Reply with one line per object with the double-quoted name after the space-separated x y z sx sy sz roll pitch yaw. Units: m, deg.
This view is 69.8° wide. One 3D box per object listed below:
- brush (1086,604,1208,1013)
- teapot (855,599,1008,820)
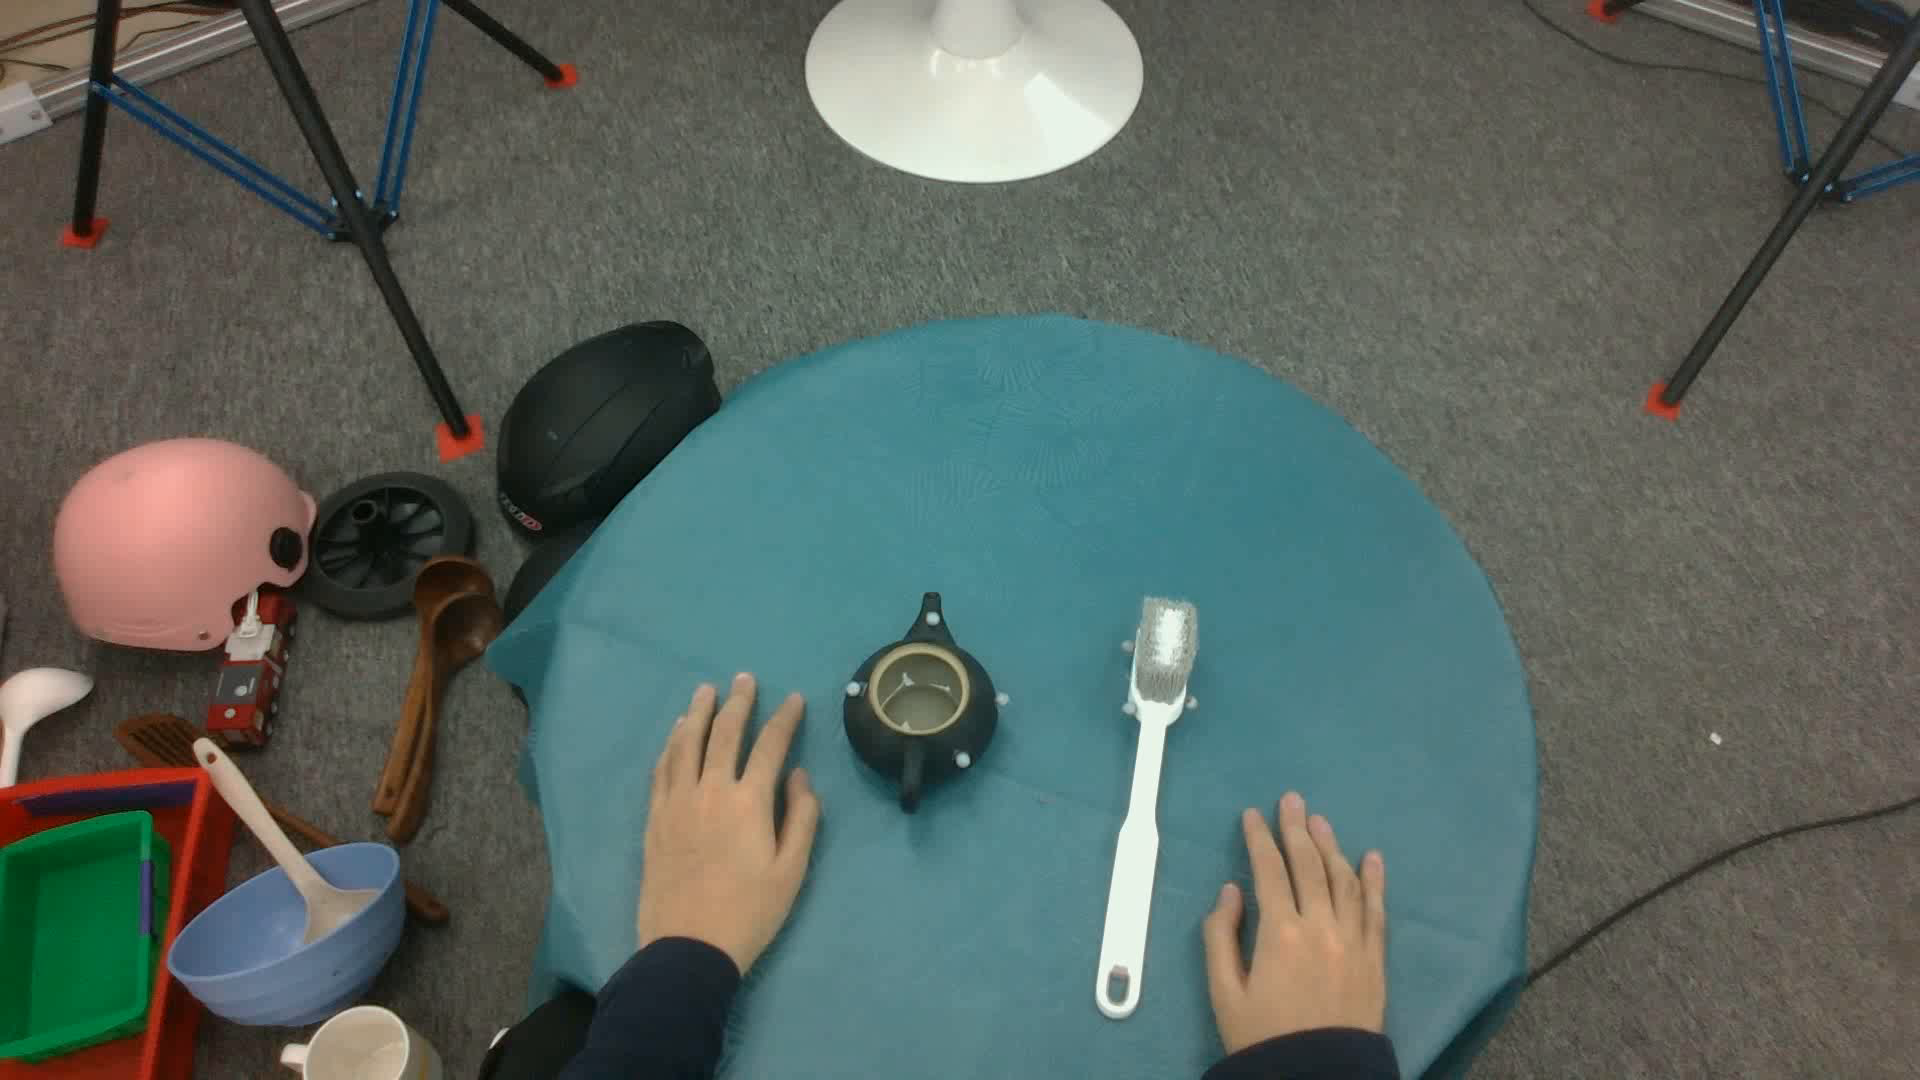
0.108 0.144 0.787 0.034 0.050 0.245 14 57 4 "brush"
-0.017 0.103 0.810 0.091 0.053 0.134 2 57 5 "teapot"
